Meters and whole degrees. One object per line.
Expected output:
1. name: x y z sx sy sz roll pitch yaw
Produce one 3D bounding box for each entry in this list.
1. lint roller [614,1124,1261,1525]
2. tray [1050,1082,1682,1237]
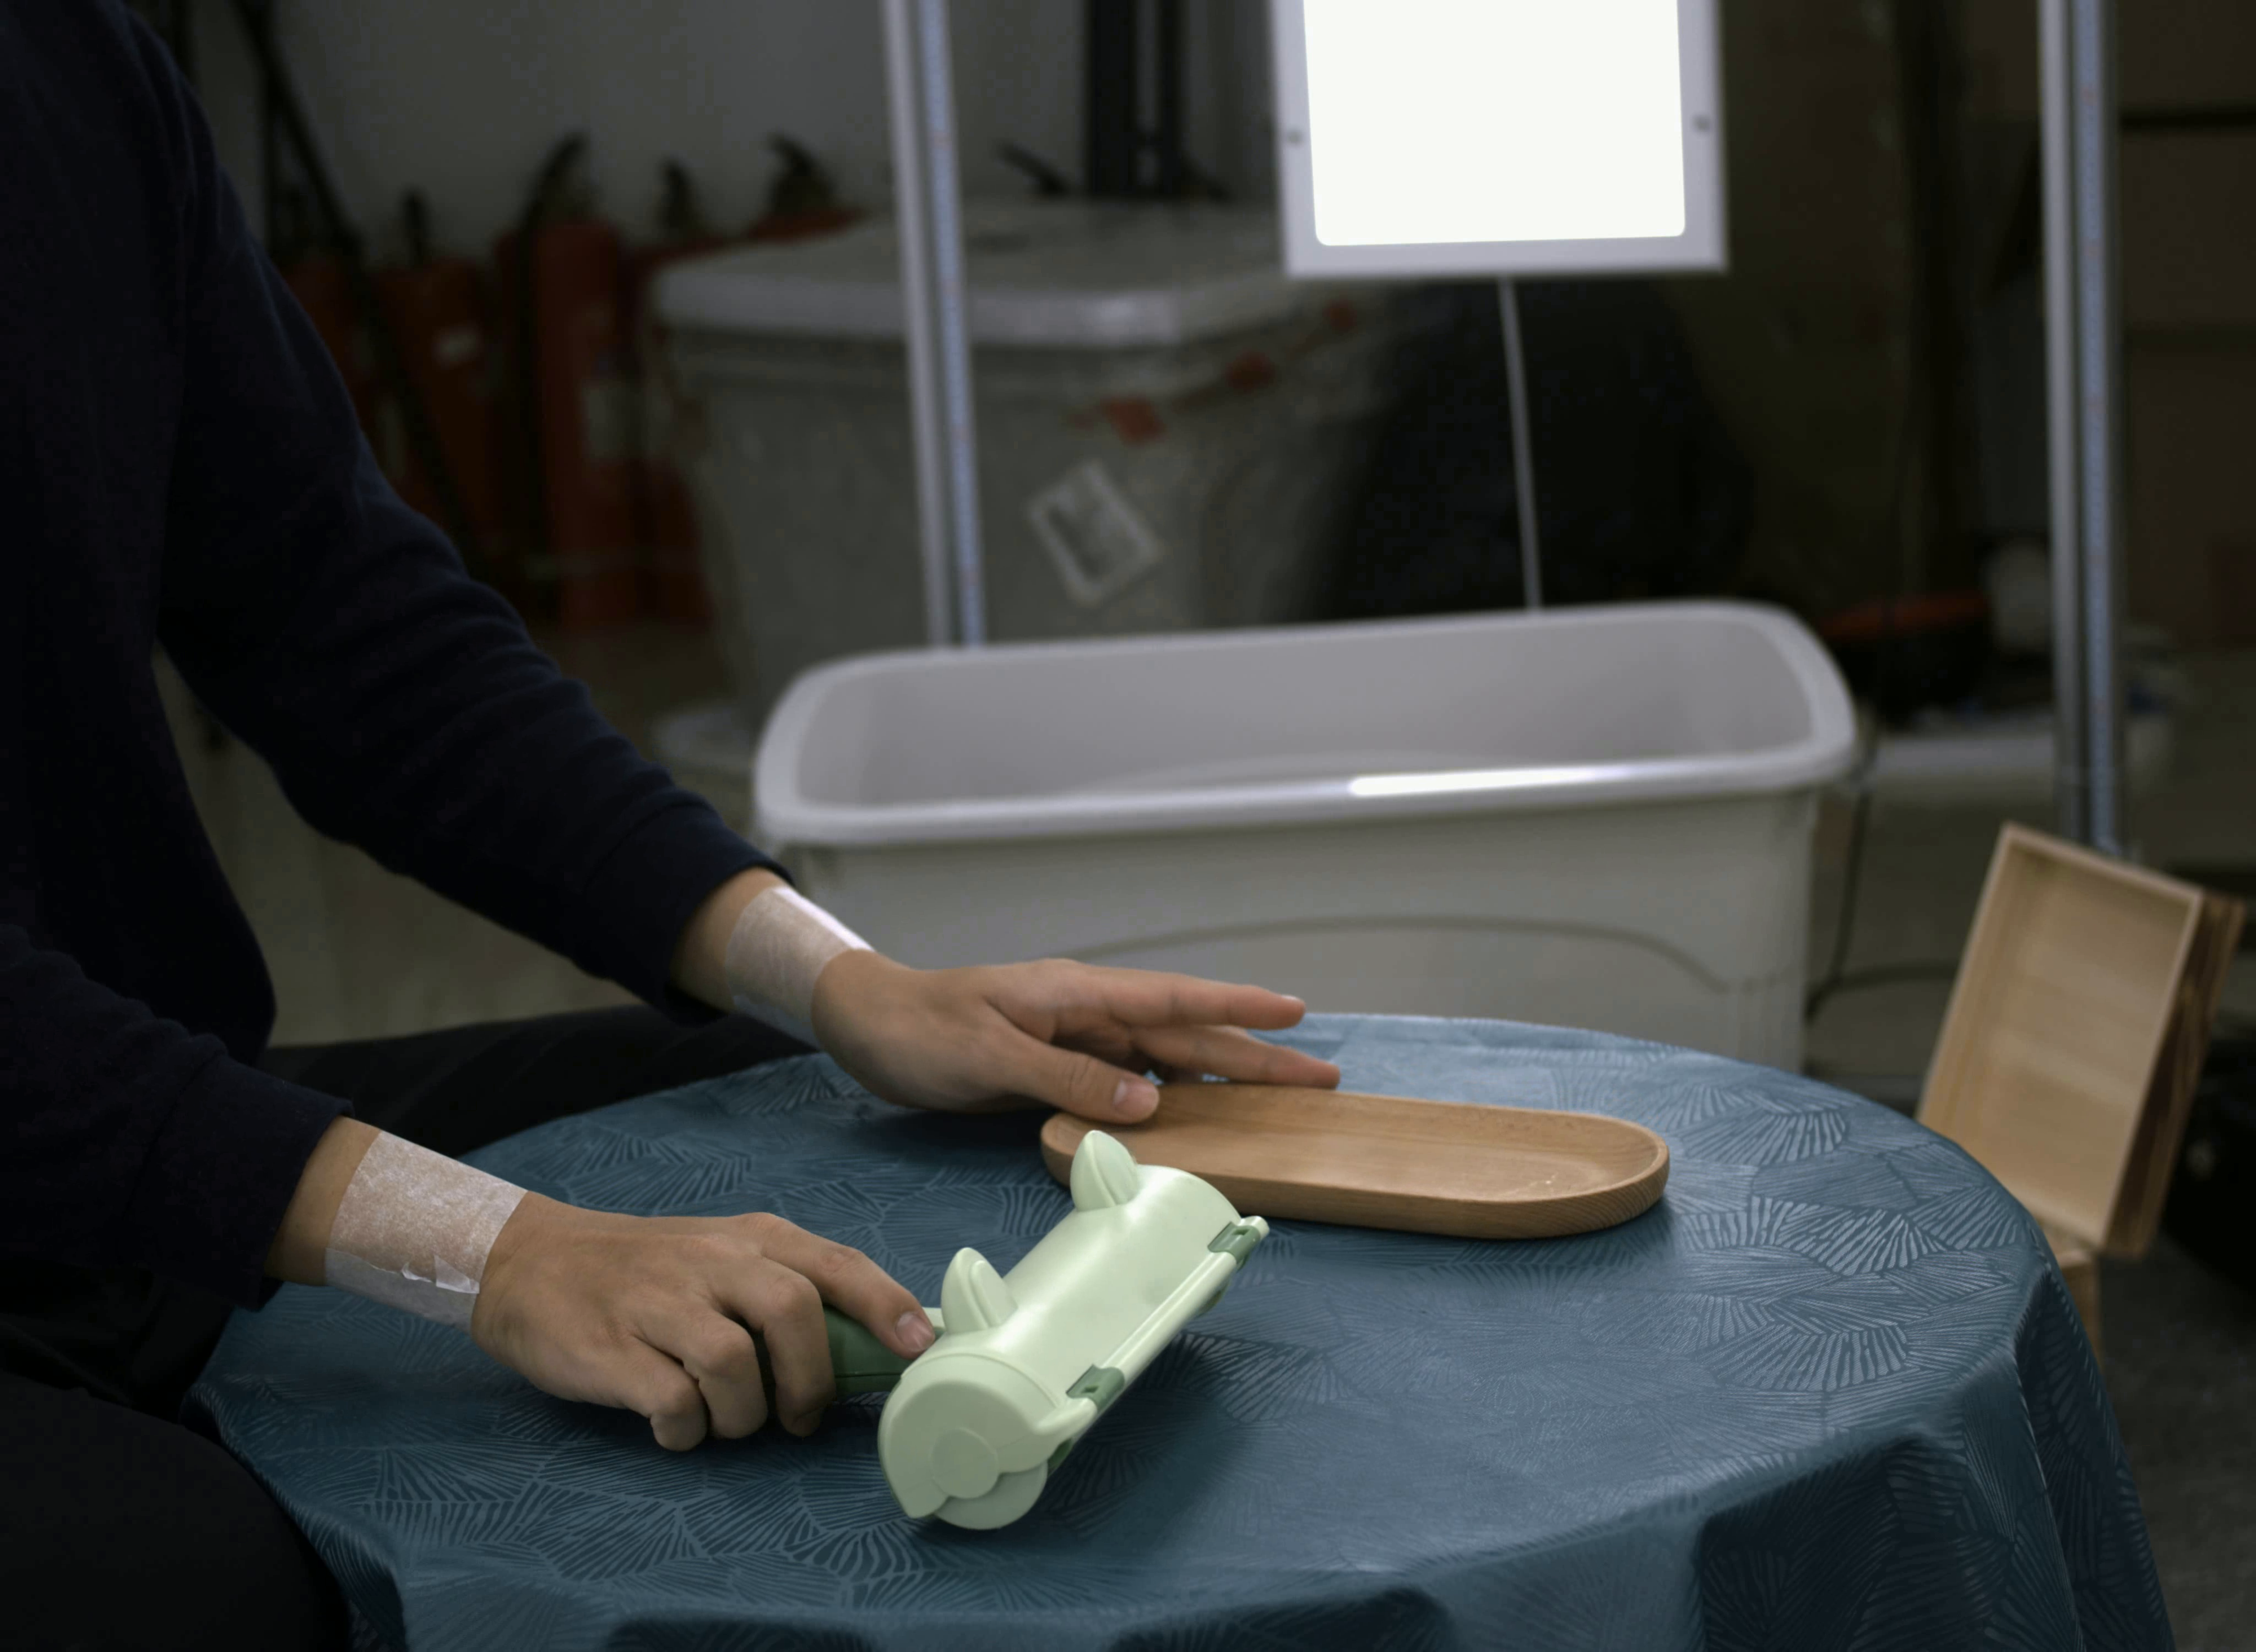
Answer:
1. lint roller: -0.072 0.141 1.679 0.185 0.082 0.195 6 16 18
2. tray: 0.080 0.114 1.884 0.235 0.020 0.099 5 18 31
